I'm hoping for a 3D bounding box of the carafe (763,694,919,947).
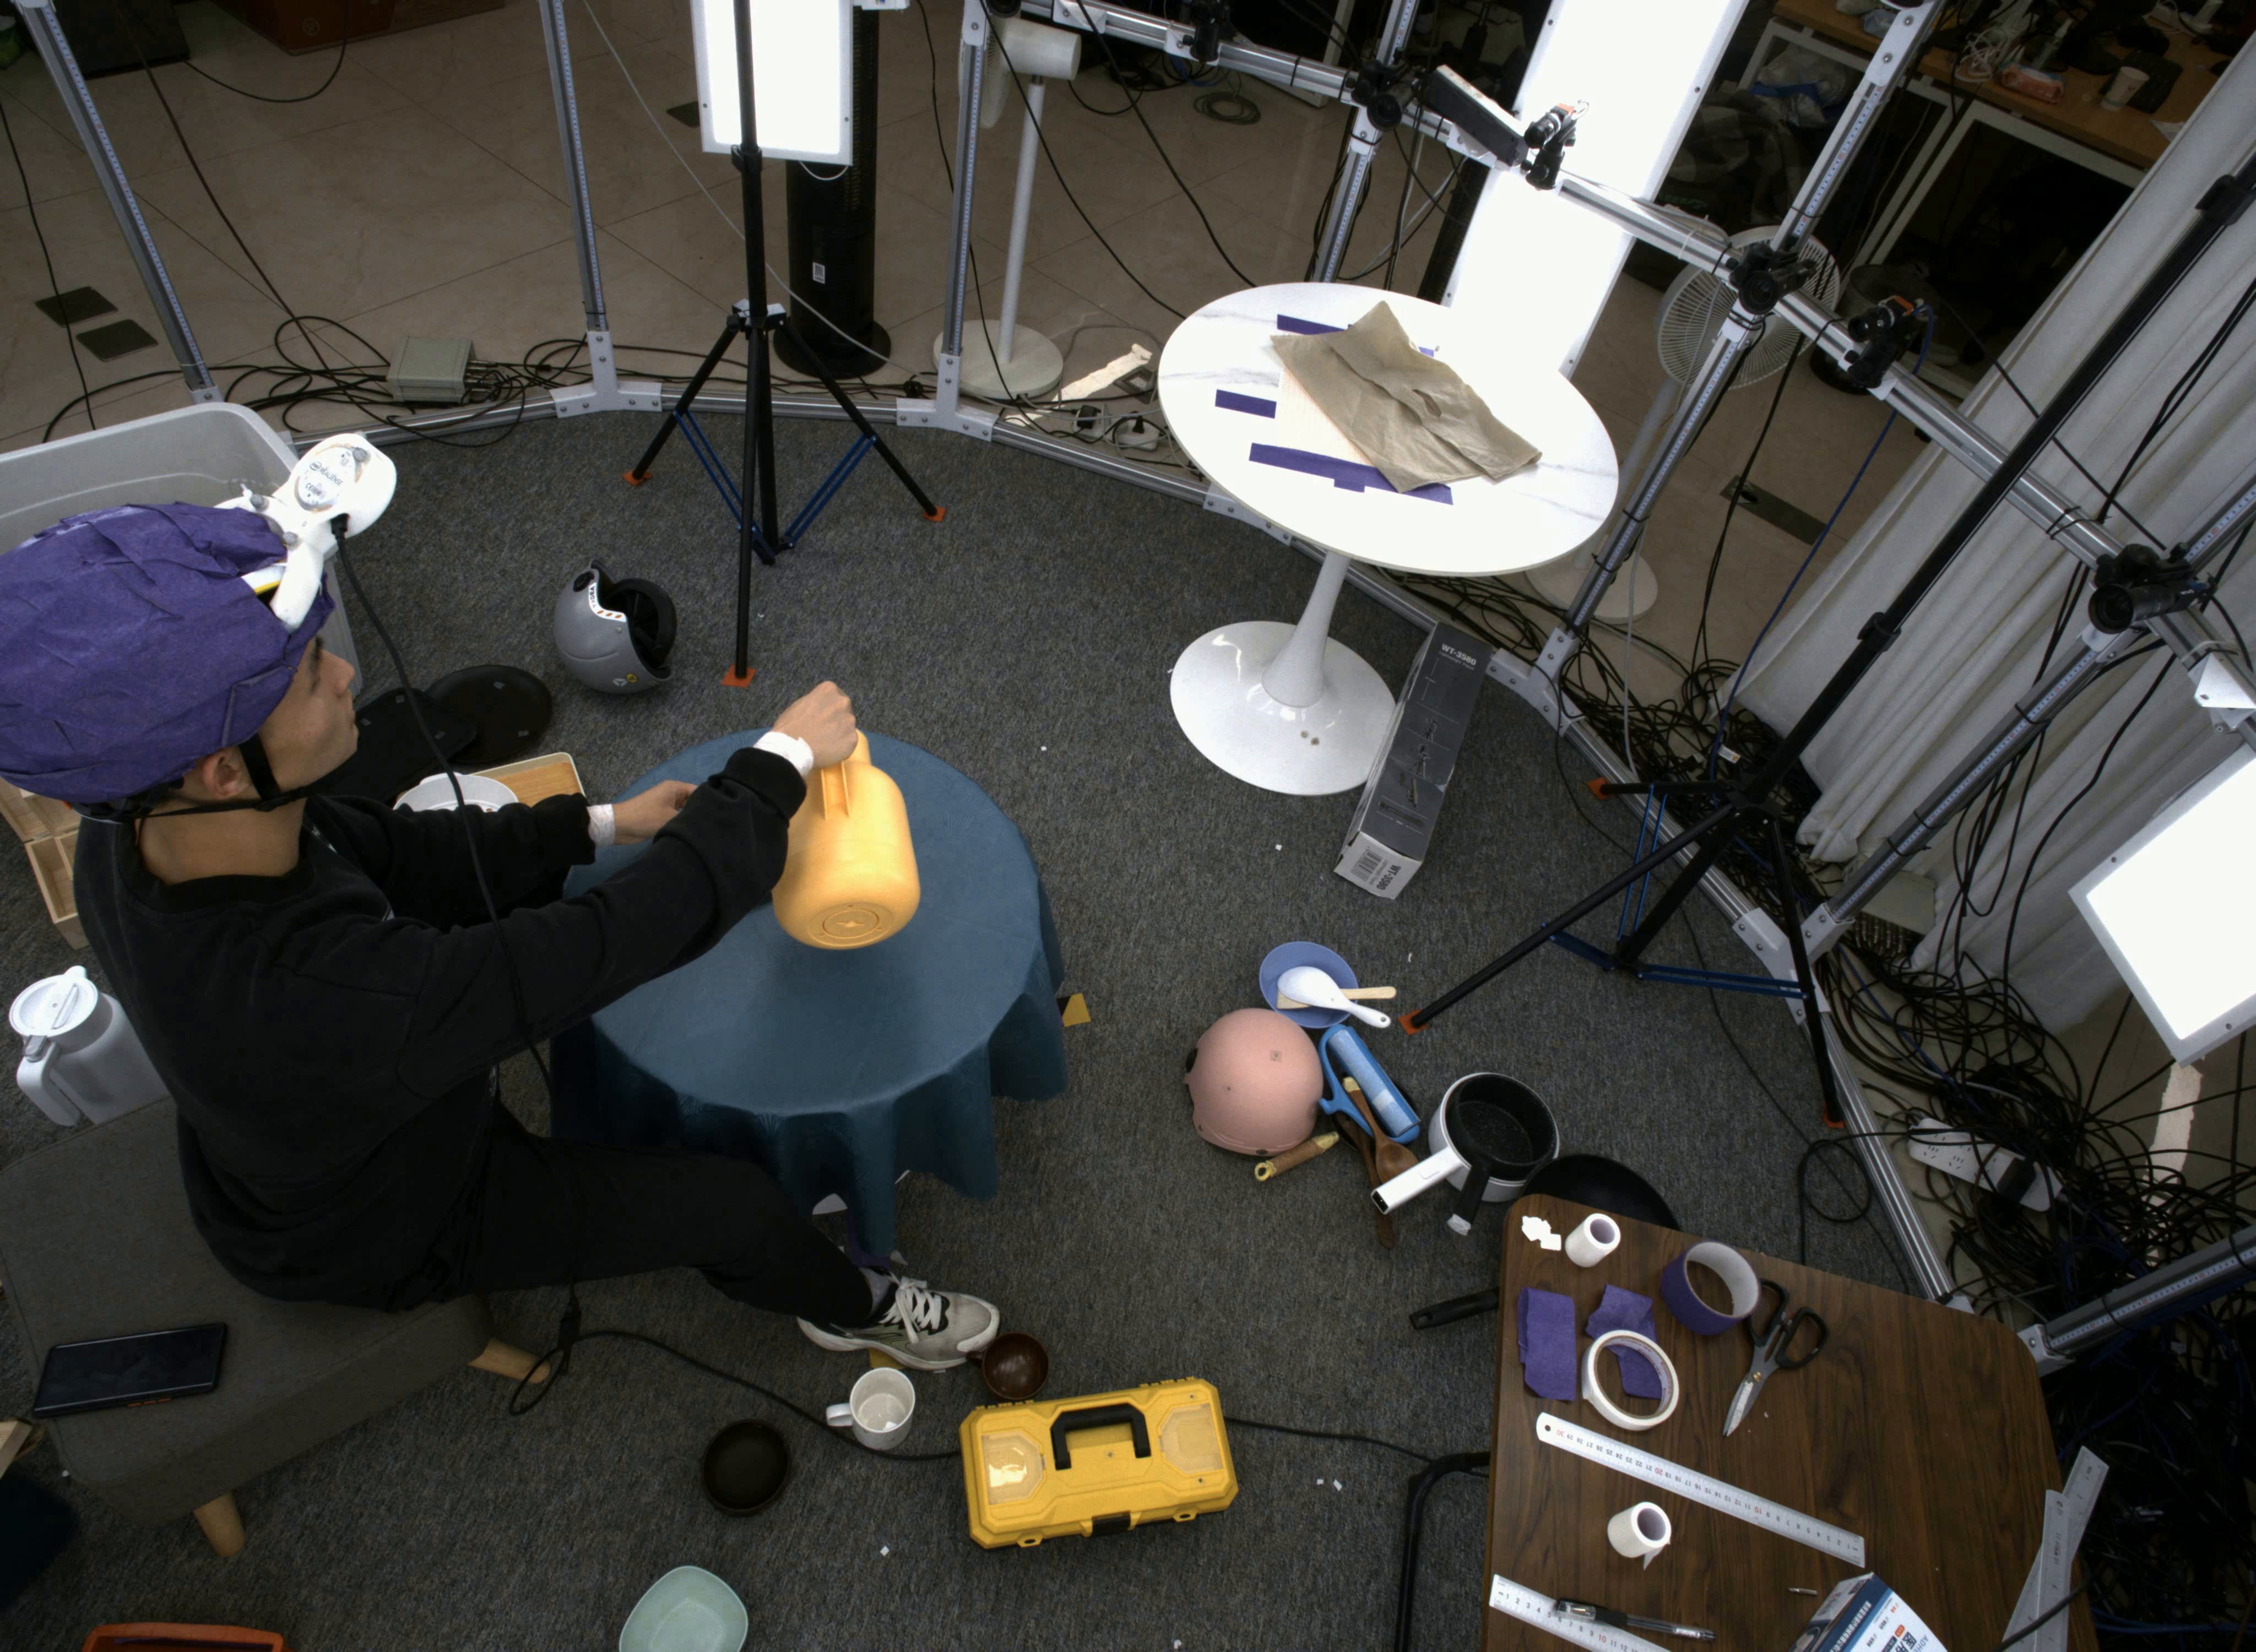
[{"bbox_3d":[-0.336,-0.016,1.468,0.163,0.208,0.254,-11,56,-12],"label":"carafe"}]

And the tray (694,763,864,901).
[{"bbox_3d":[-0.432,-0.004,1.685,0.252,0.023,0.130,-30,81,-32],"label":"tray"}]
